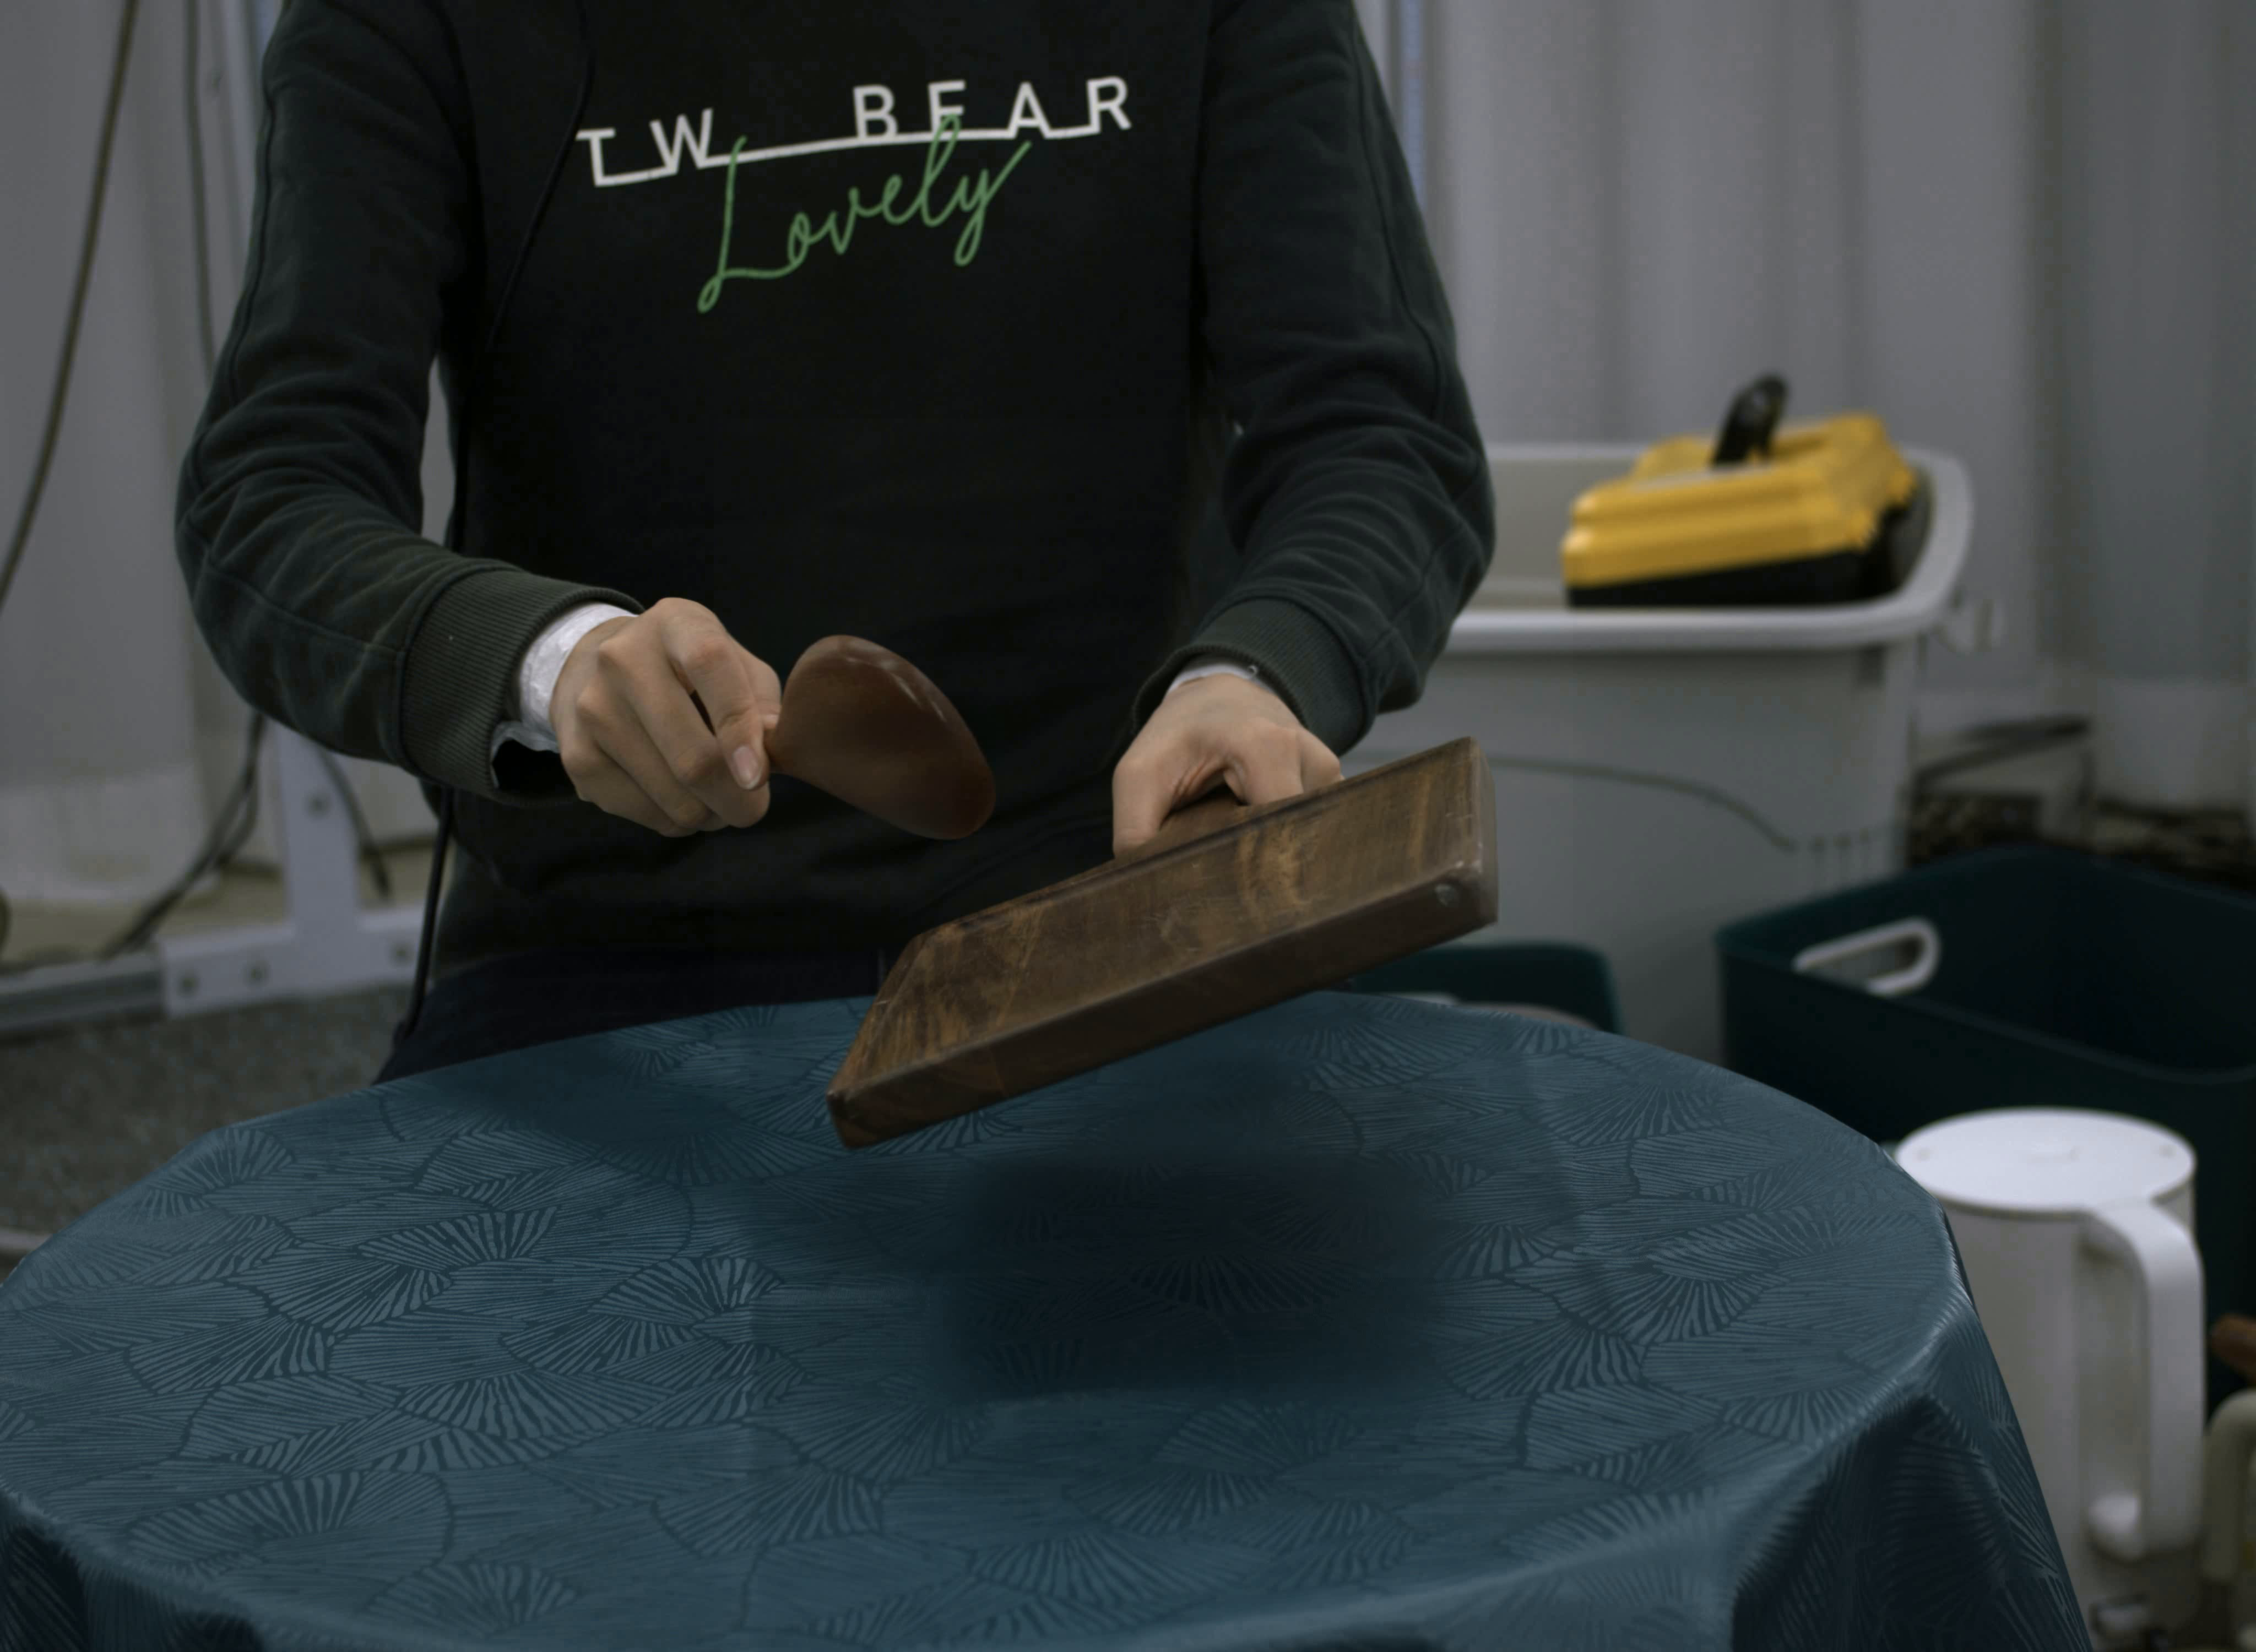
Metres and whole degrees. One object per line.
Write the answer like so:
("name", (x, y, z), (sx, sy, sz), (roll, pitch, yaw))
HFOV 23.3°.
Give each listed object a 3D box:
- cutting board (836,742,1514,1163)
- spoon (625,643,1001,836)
("cutting board", (0.020, 0.026, 1.673), (0.200, 0.023, 0.353), (-21, 7, 6))
("spoon", (-0.104, -0.022, 1.691), (0.017, 0.075, 0.216), (-45, 19, -22))
